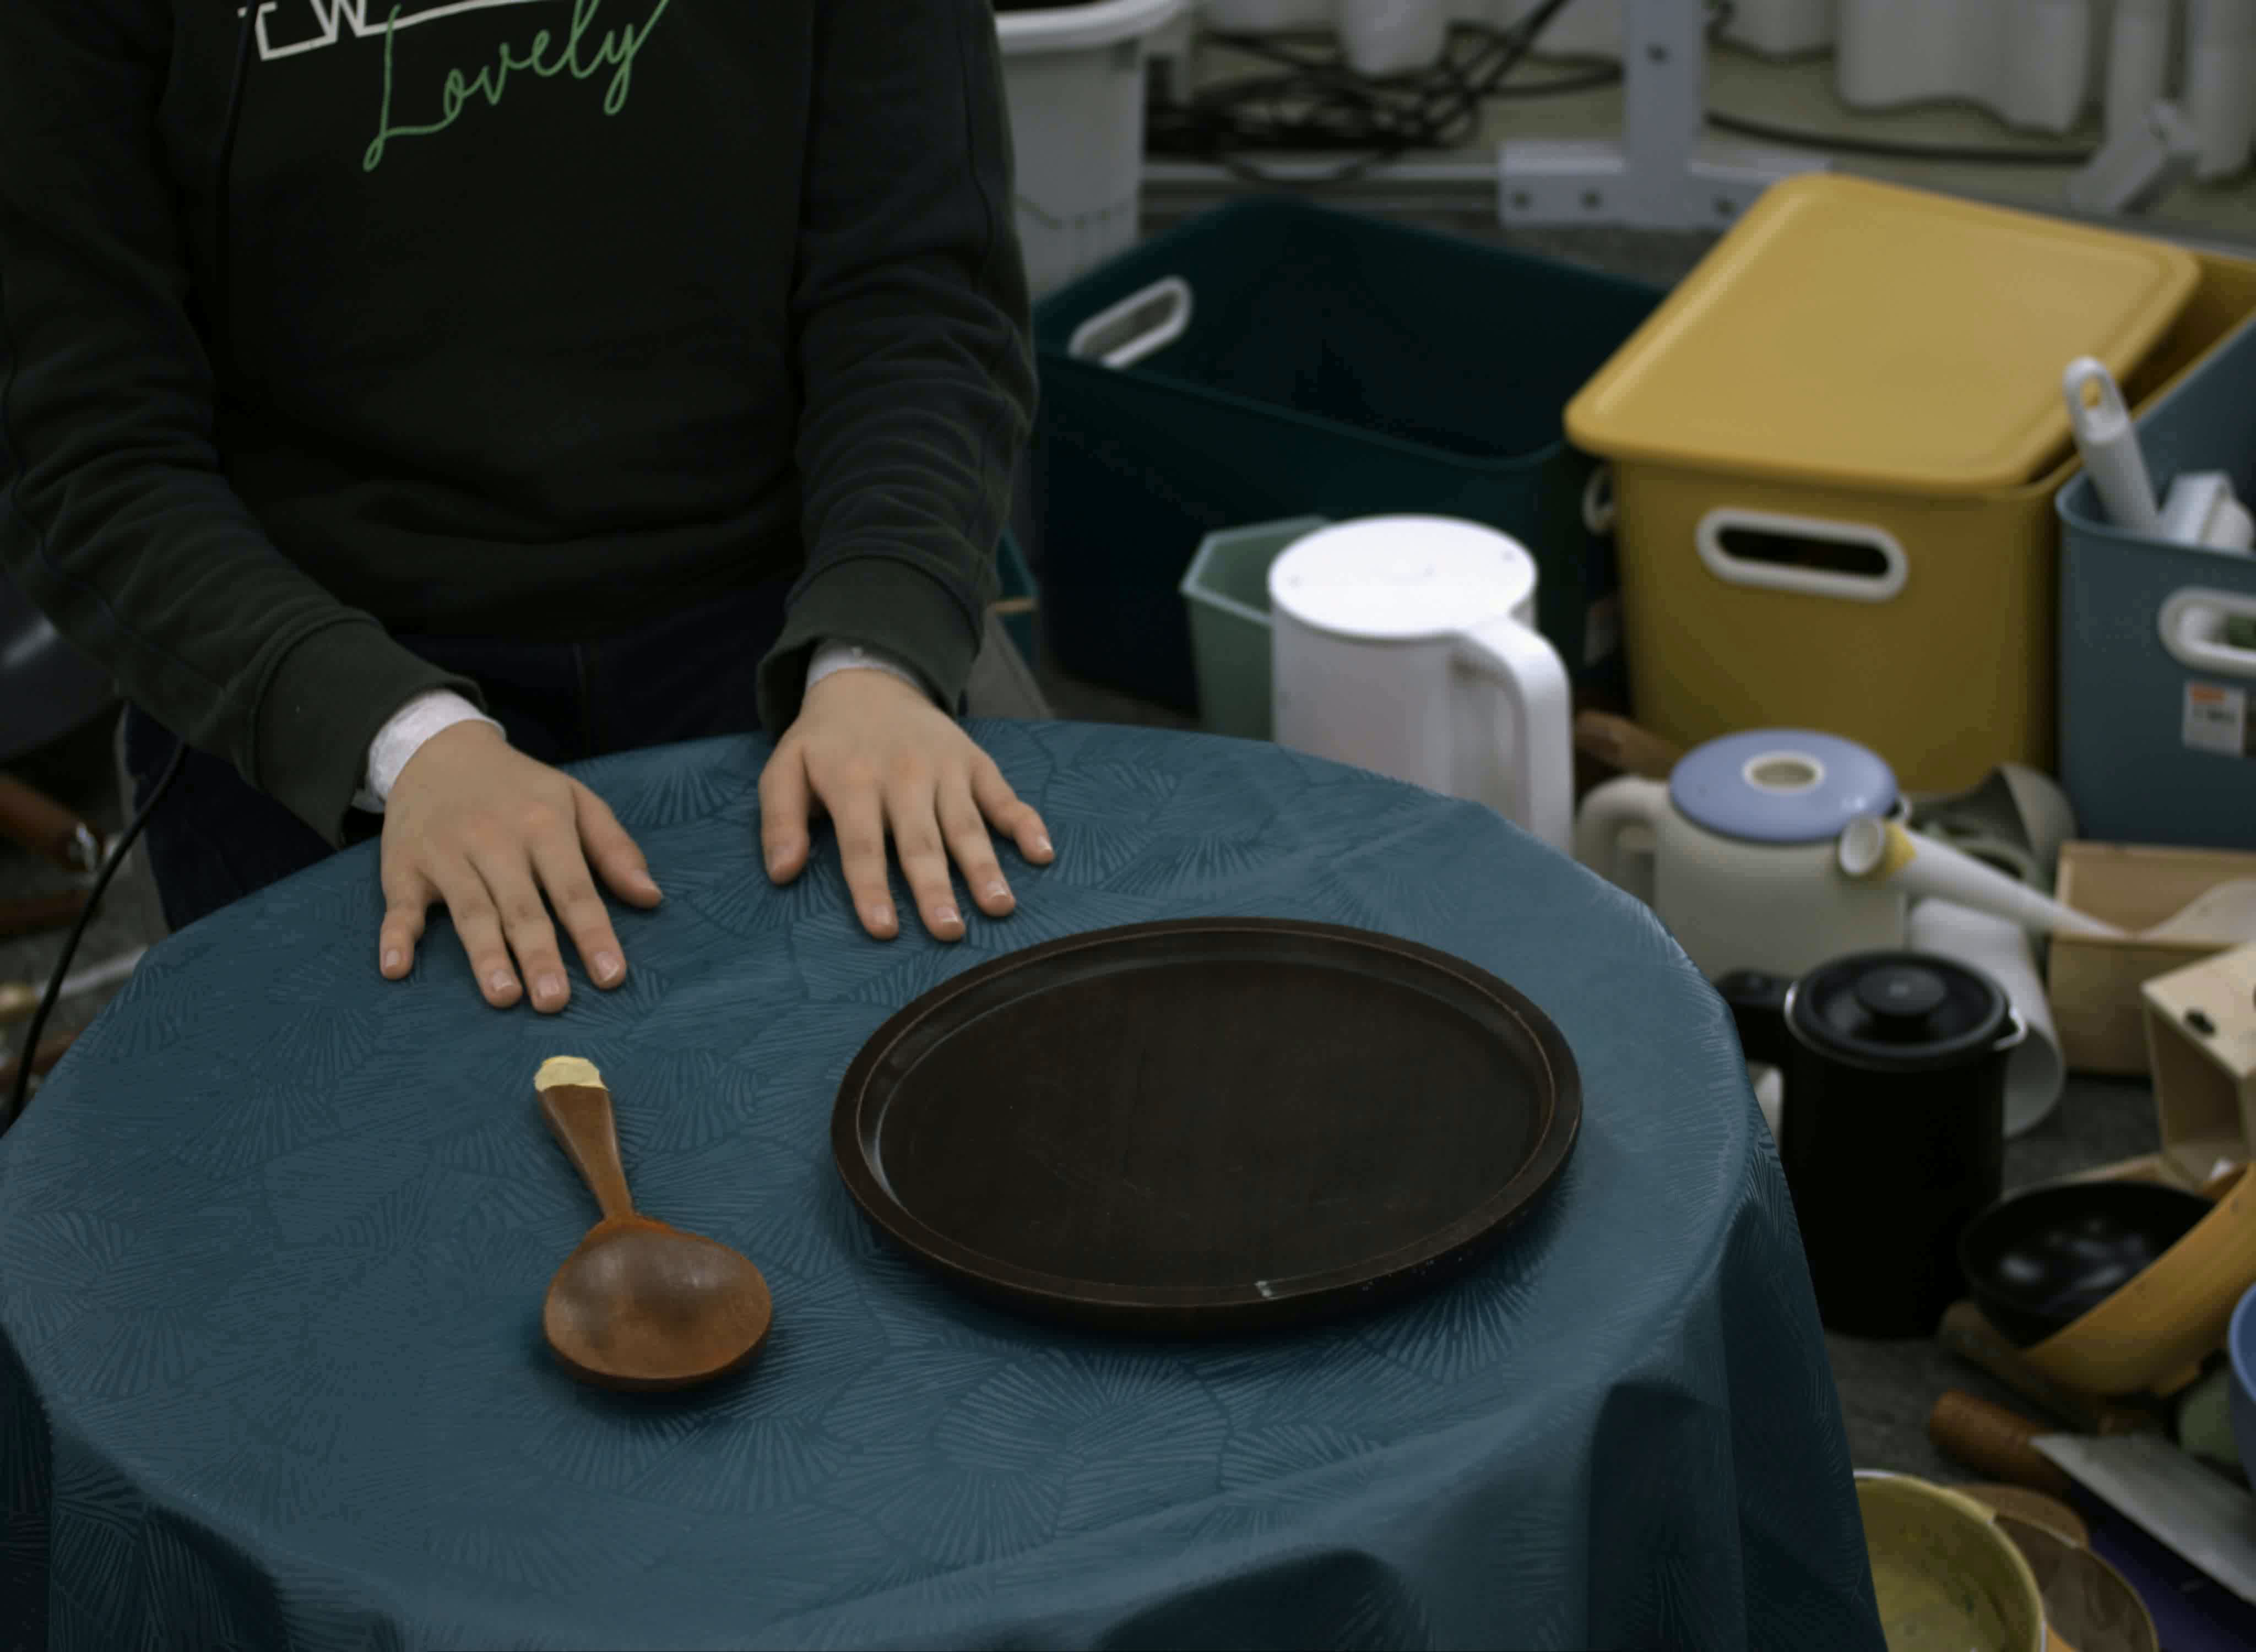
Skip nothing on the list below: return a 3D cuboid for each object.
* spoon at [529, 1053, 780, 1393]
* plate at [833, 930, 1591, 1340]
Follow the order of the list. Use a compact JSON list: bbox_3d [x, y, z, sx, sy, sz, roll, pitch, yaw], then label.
[{"bbox_3d":[-0.166,0.131,1.841,0.075,0.017,0.218,-10,28,-13],"label":"spoon"},{"bbox_3d":[0.028,0.101,1.875,0.253,0.029,0.259,-1,28,1],"label":"plate"}]
